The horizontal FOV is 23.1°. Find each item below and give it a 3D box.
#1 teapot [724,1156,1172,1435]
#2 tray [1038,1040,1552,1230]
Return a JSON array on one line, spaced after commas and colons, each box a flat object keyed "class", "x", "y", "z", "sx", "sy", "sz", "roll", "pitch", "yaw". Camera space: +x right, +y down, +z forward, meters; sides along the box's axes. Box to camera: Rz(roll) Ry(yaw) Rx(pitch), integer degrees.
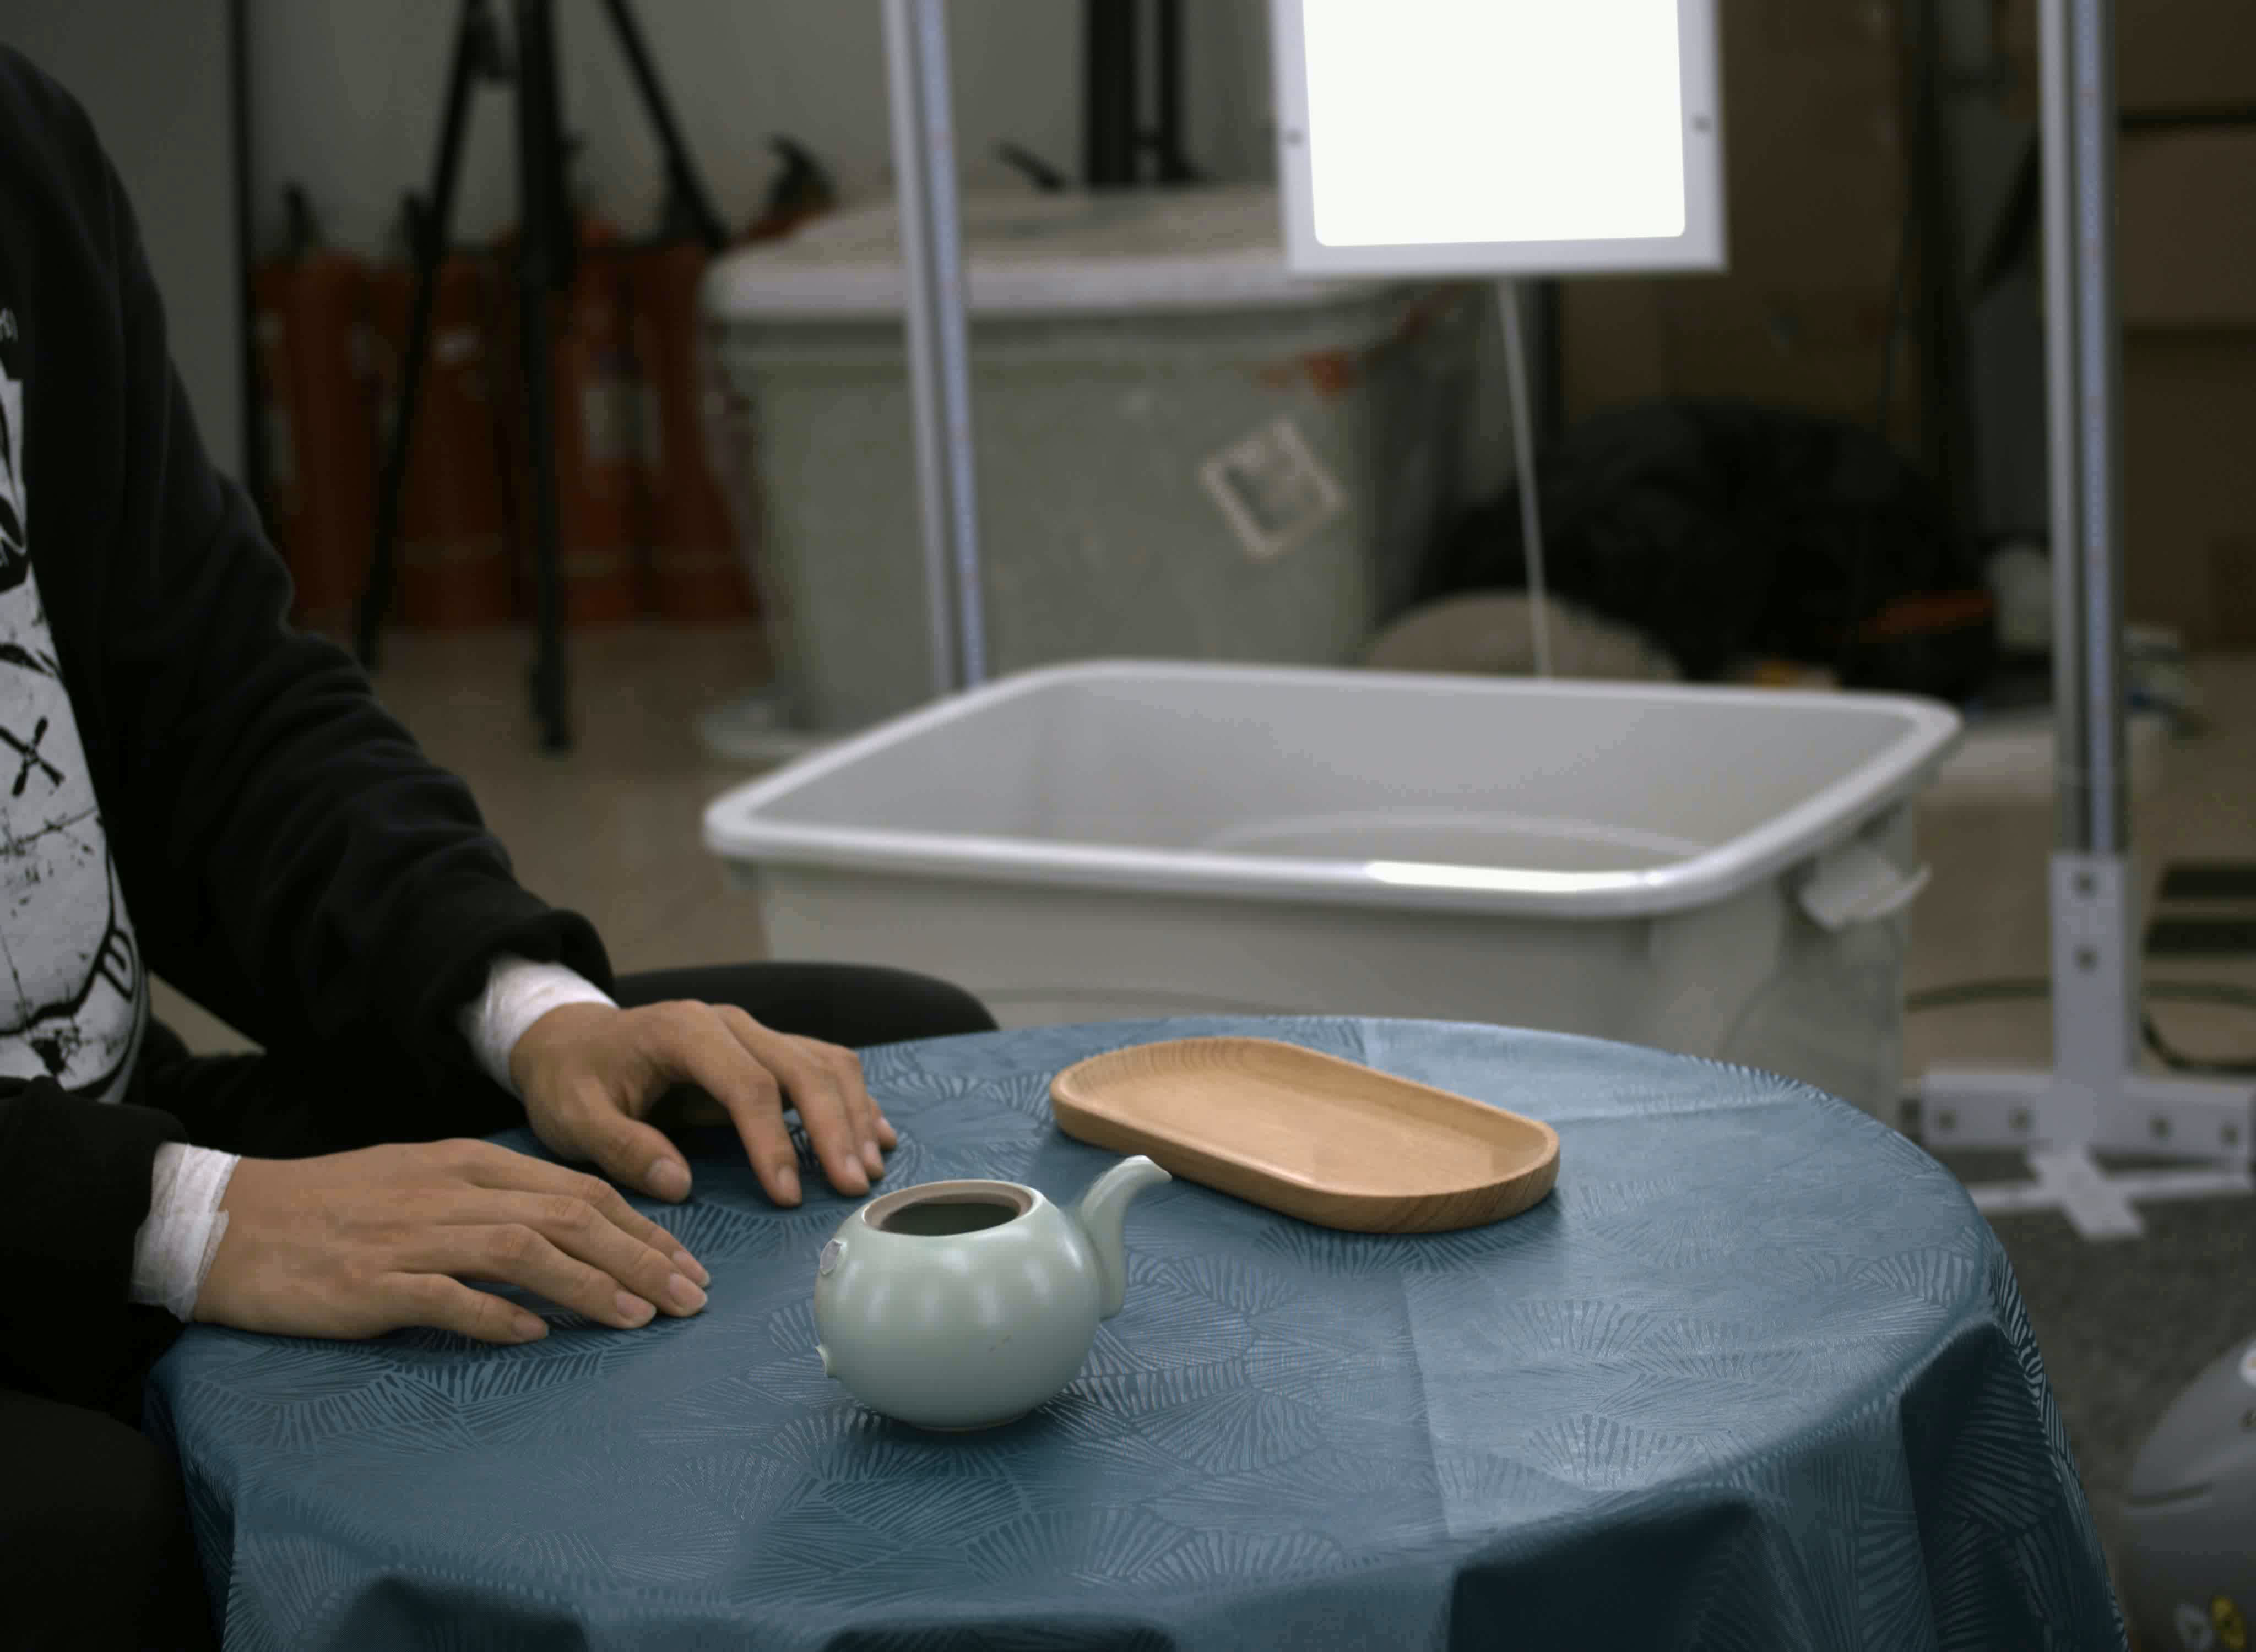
[{"class": "teapot", "x": -0.053, "y": 0.145, "z": 1.691, "sx": 0.142, "sy": 0.075, "sz": 0.089, "roll": -7, "pitch": 13, "yaw": -12}, {"class": "tray", "x": 0.057, "y": 0.107, "z": 1.926, "sx": 0.099, "sy": 0.020, "sz": 0.236, "roll": -12, "pitch": 14, "yaw": -33}]
